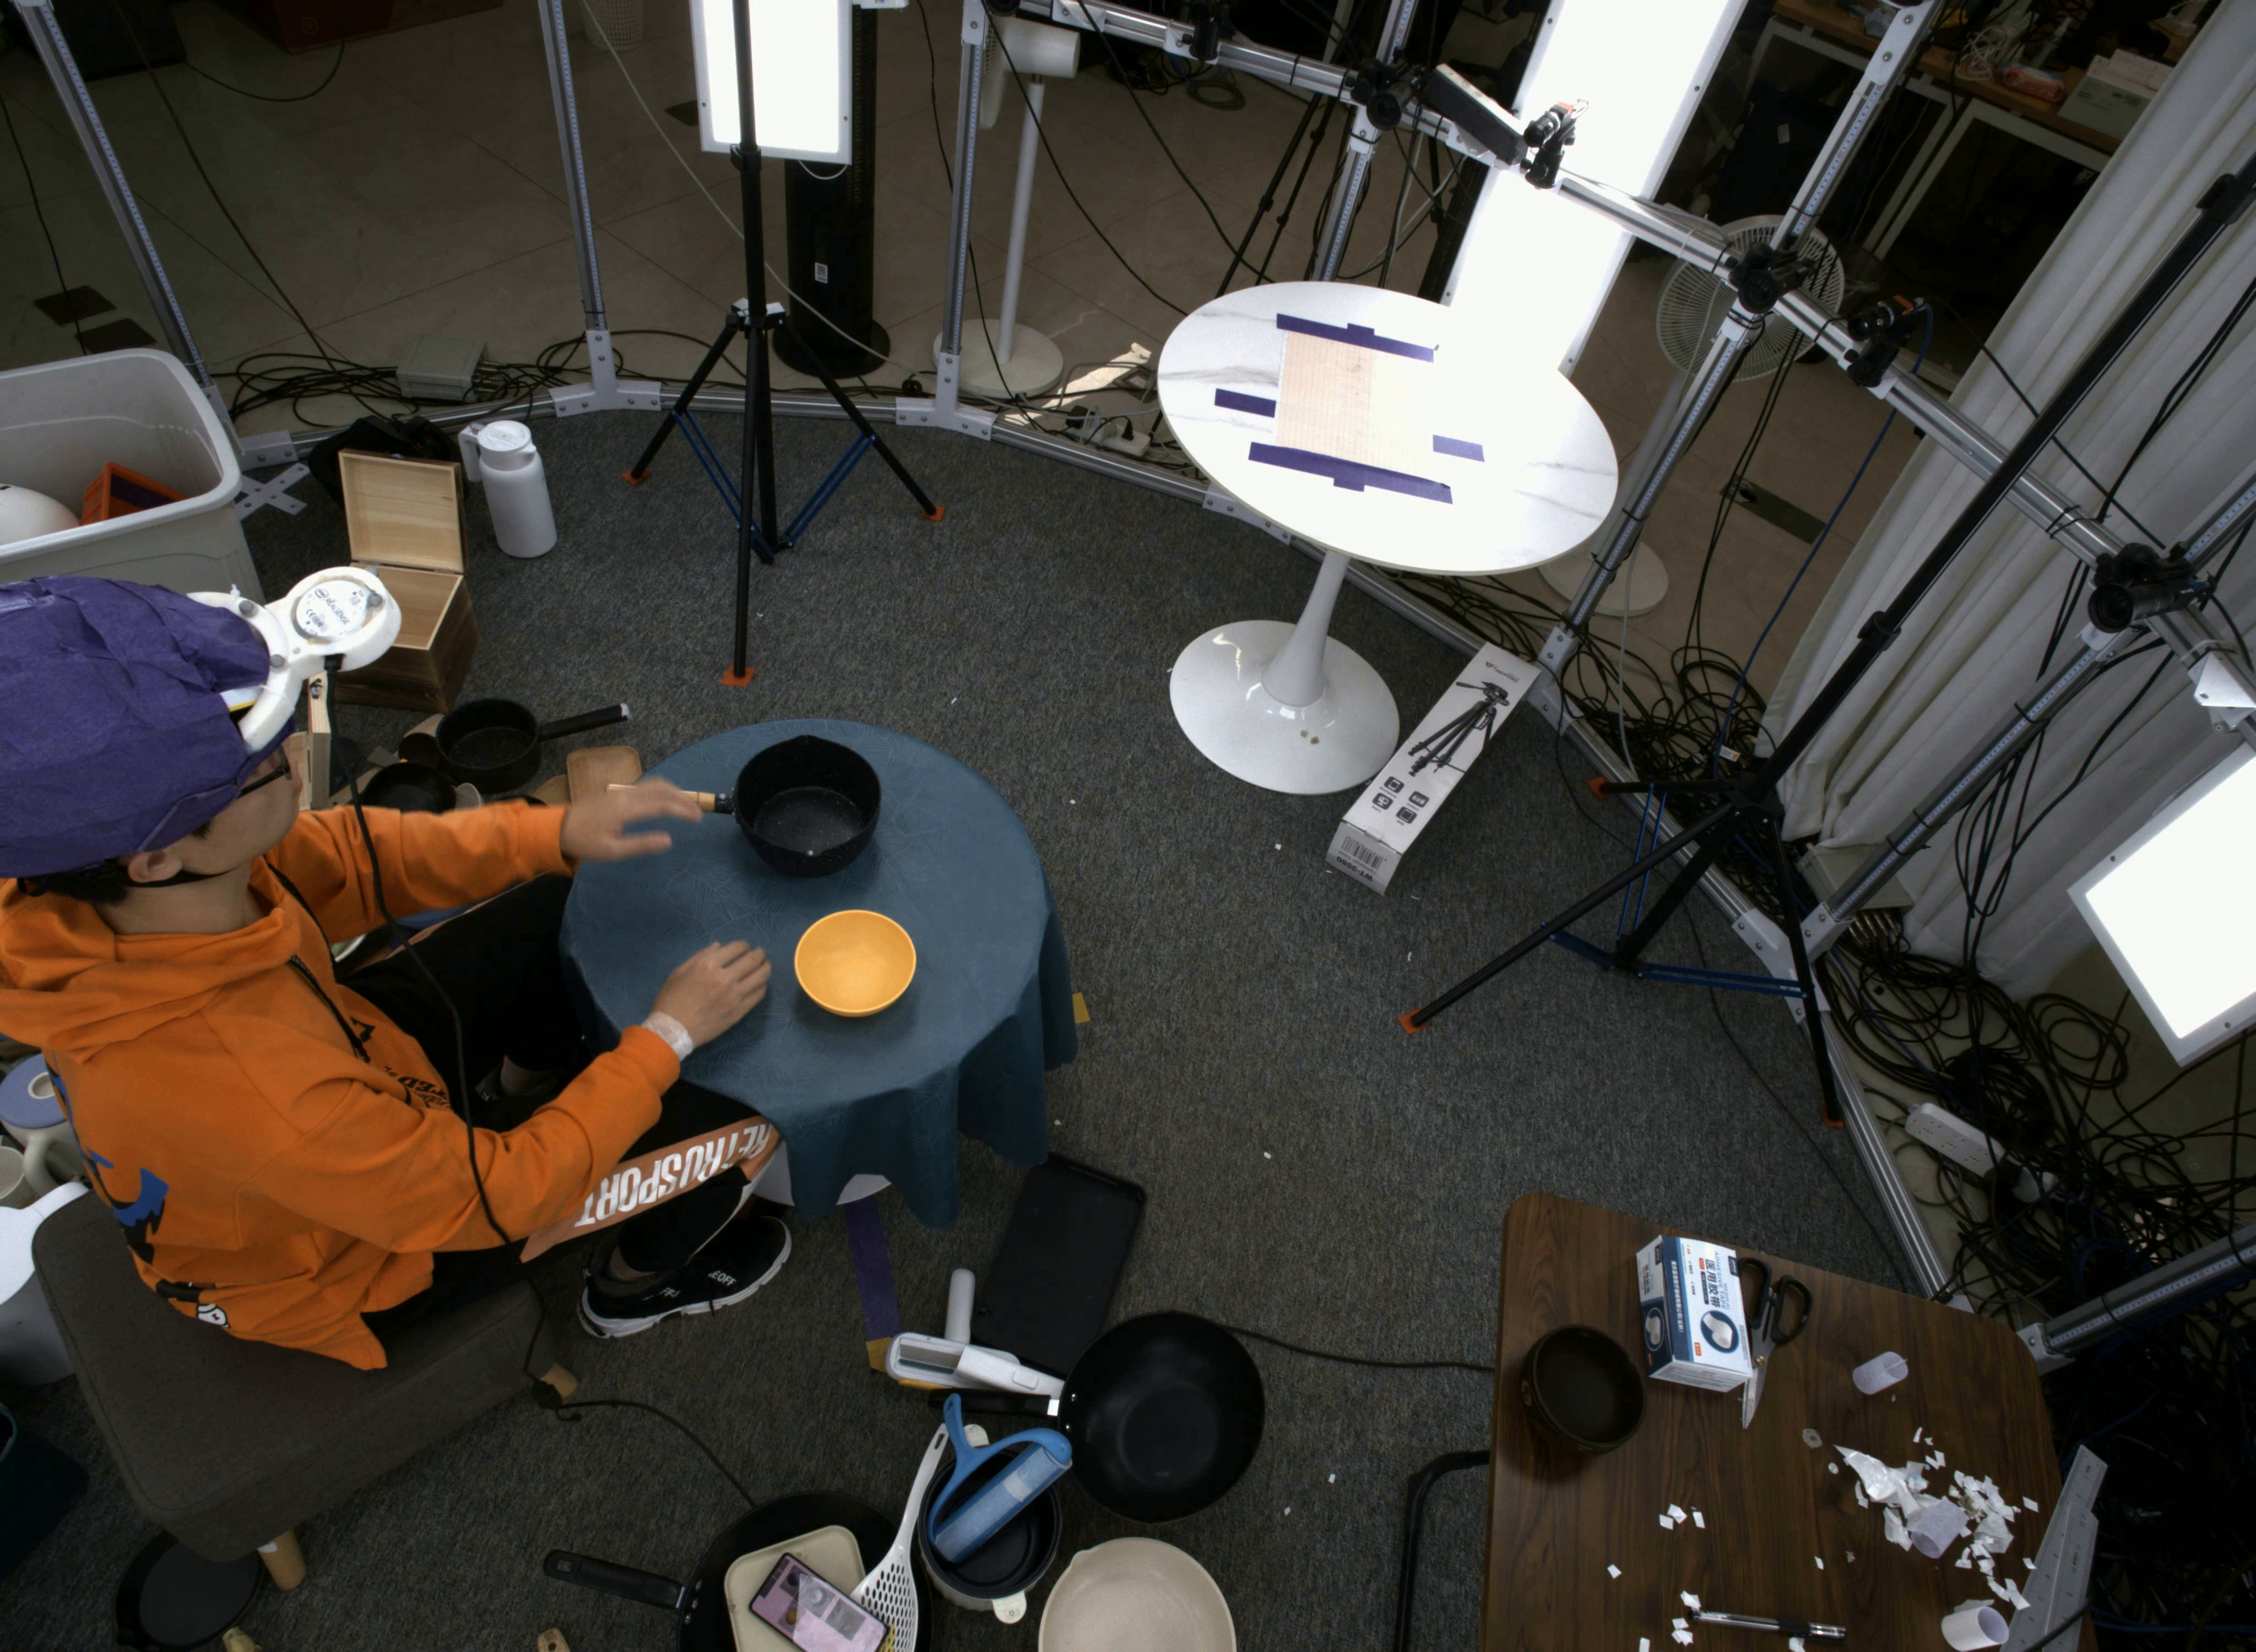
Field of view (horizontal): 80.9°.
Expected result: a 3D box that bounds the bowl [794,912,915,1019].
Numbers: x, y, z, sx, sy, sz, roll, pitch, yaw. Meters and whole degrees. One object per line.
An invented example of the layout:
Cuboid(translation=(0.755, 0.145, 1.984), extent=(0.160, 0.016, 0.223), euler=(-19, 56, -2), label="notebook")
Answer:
Cuboid(translation=(-0.329, 0.177, 1.568), extent=(0.145, 0.061, 0.142), euler=(8, 51, -8), label="bowl")

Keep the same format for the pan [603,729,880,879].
Cuboid(translation=(-0.489, -0.022, 1.643), extent=(0.344, 0.110, 0.203), euler=(-3, 56, -18), label="pan")
